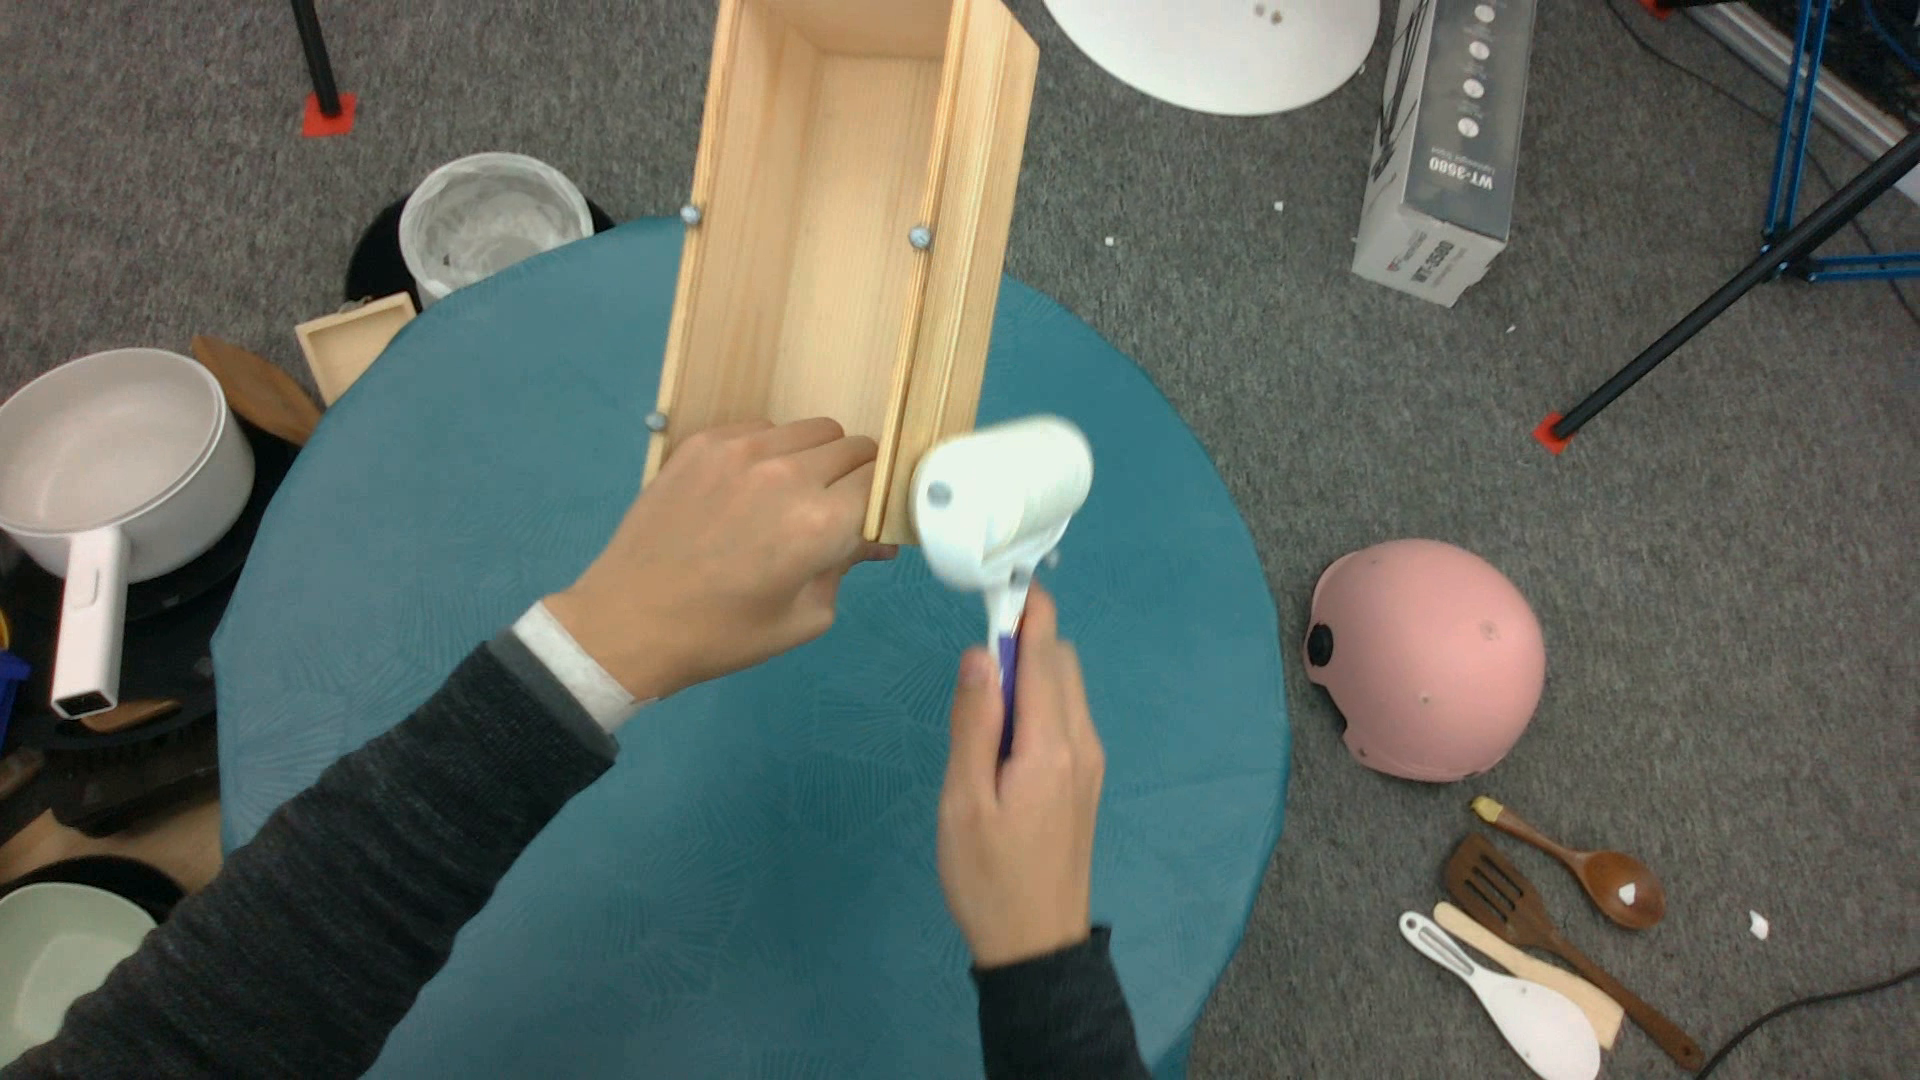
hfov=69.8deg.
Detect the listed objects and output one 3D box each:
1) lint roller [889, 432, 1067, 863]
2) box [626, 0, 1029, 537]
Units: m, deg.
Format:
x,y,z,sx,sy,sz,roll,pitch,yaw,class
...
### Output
x,y,z,sx,sy,sz,roll,pitch,yaw,class
0.020,0.047,0.572,0.050,0.133,0.180,-8,94,19,lint roller
-0.051,-0.114,0.561,0.107,0.080,0.211,12,92,18,box
